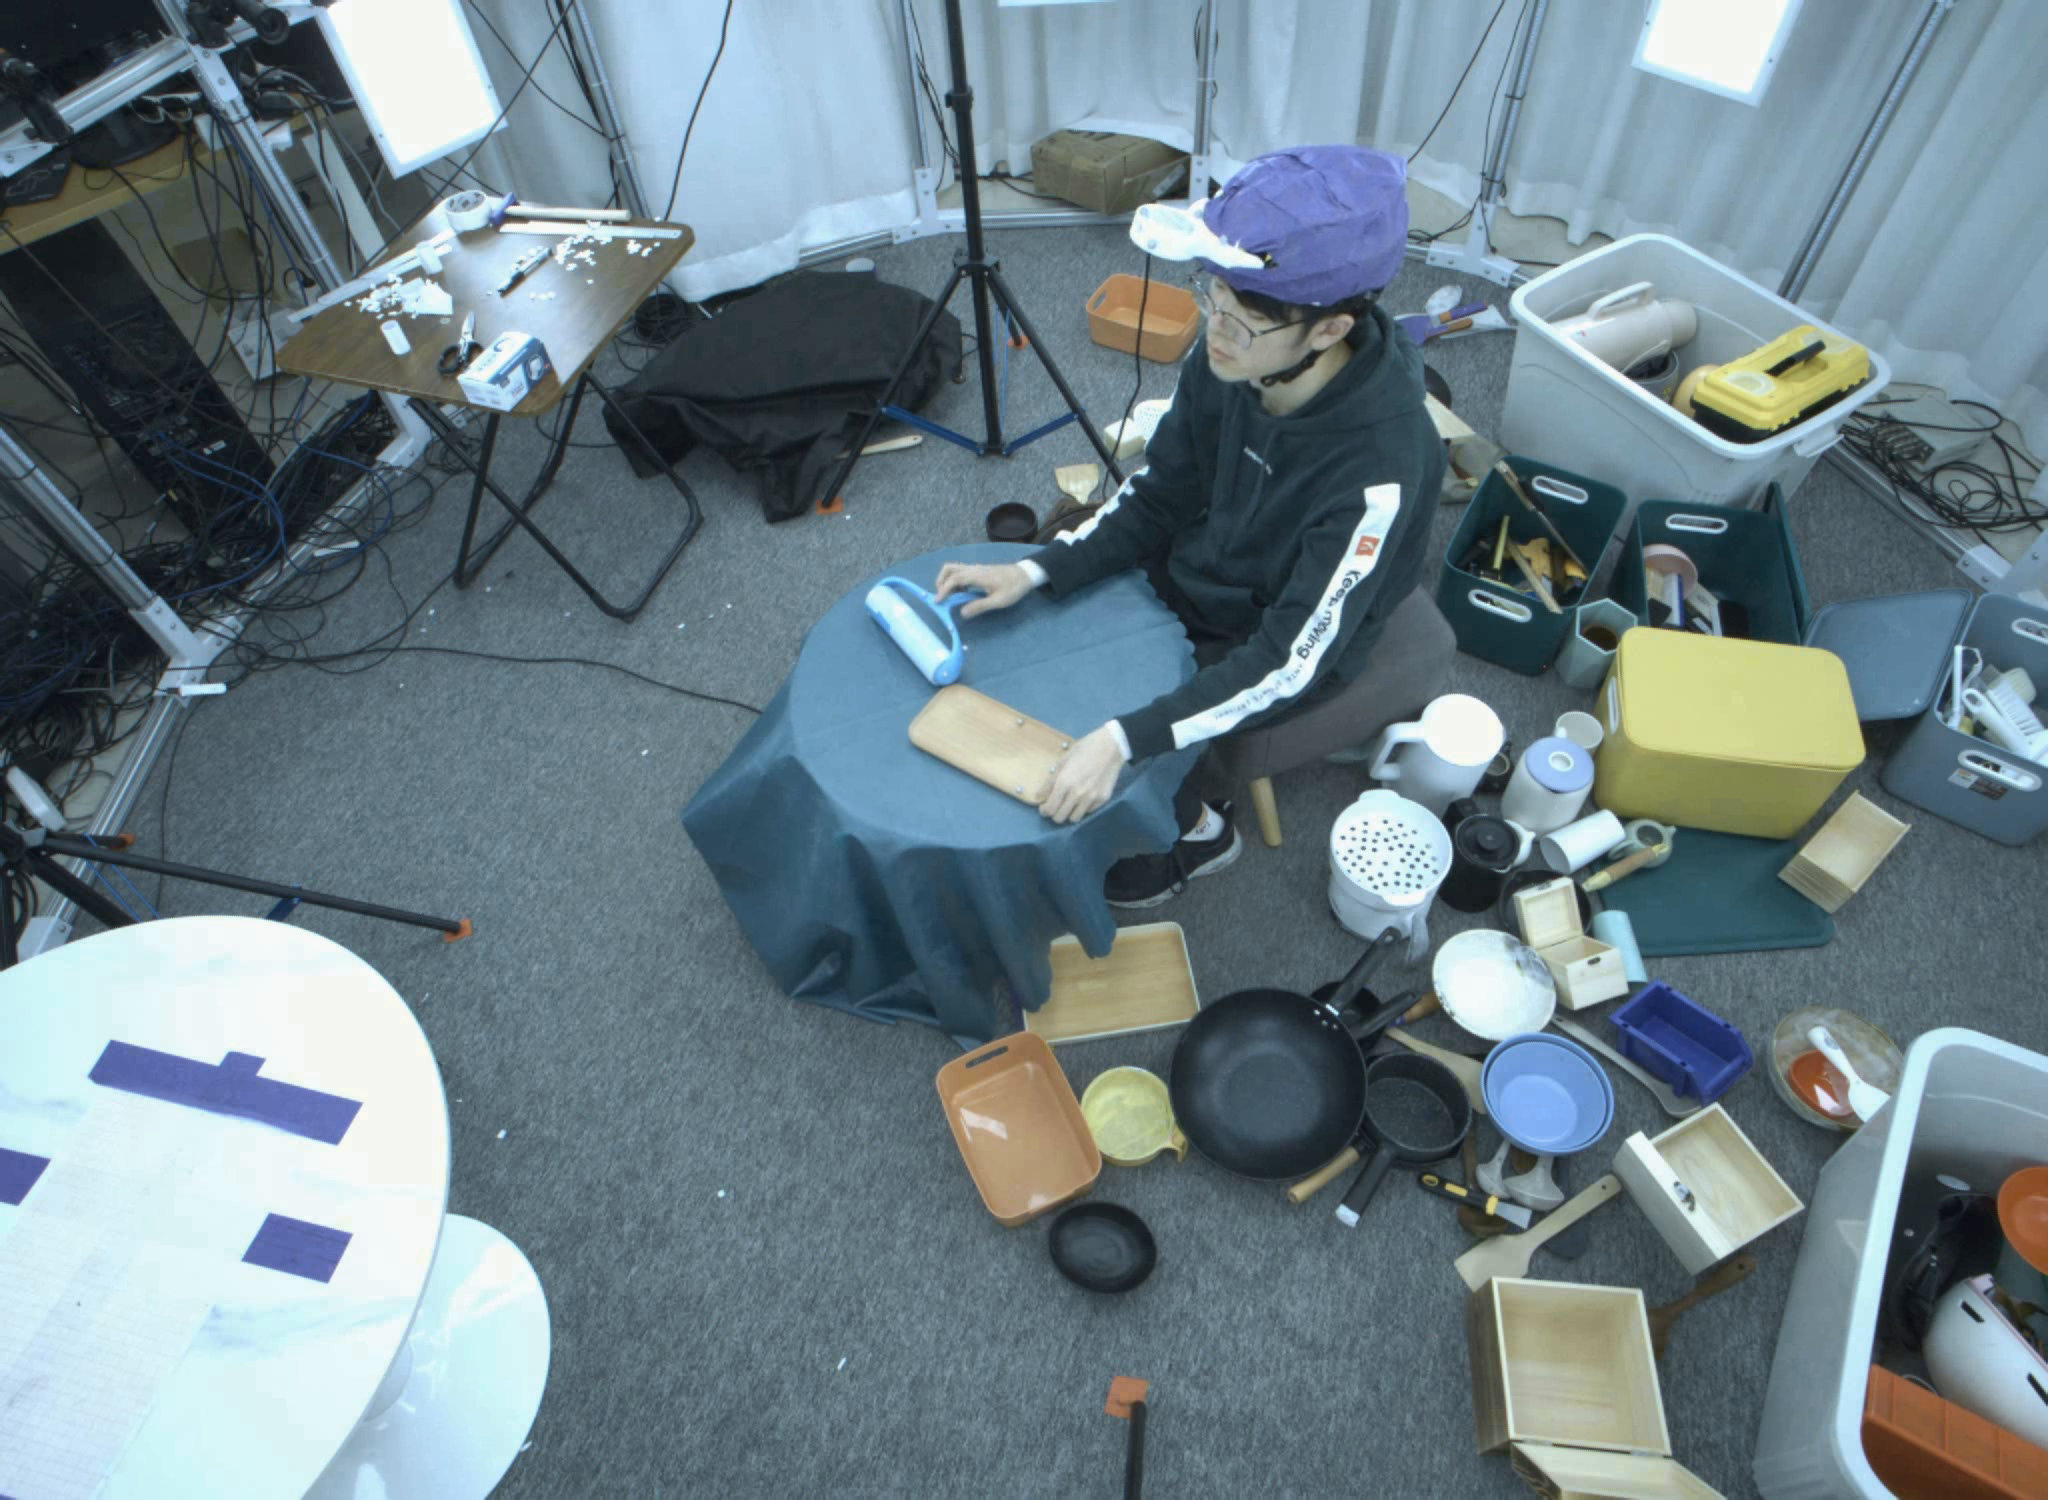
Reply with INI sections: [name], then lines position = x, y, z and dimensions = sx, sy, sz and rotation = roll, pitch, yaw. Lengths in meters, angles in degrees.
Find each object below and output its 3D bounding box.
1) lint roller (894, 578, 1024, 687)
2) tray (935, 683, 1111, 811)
[lint roller]
position = -0.081, -0.207, 1.898
dimensions = 0.181, 0.069, 0.224
rotation = -33, 58, -19
[tray]
position = -0.002, -0.006, 1.776
dimensions = 0.246, 0.023, 0.131
rotation = 29, 58, 21
